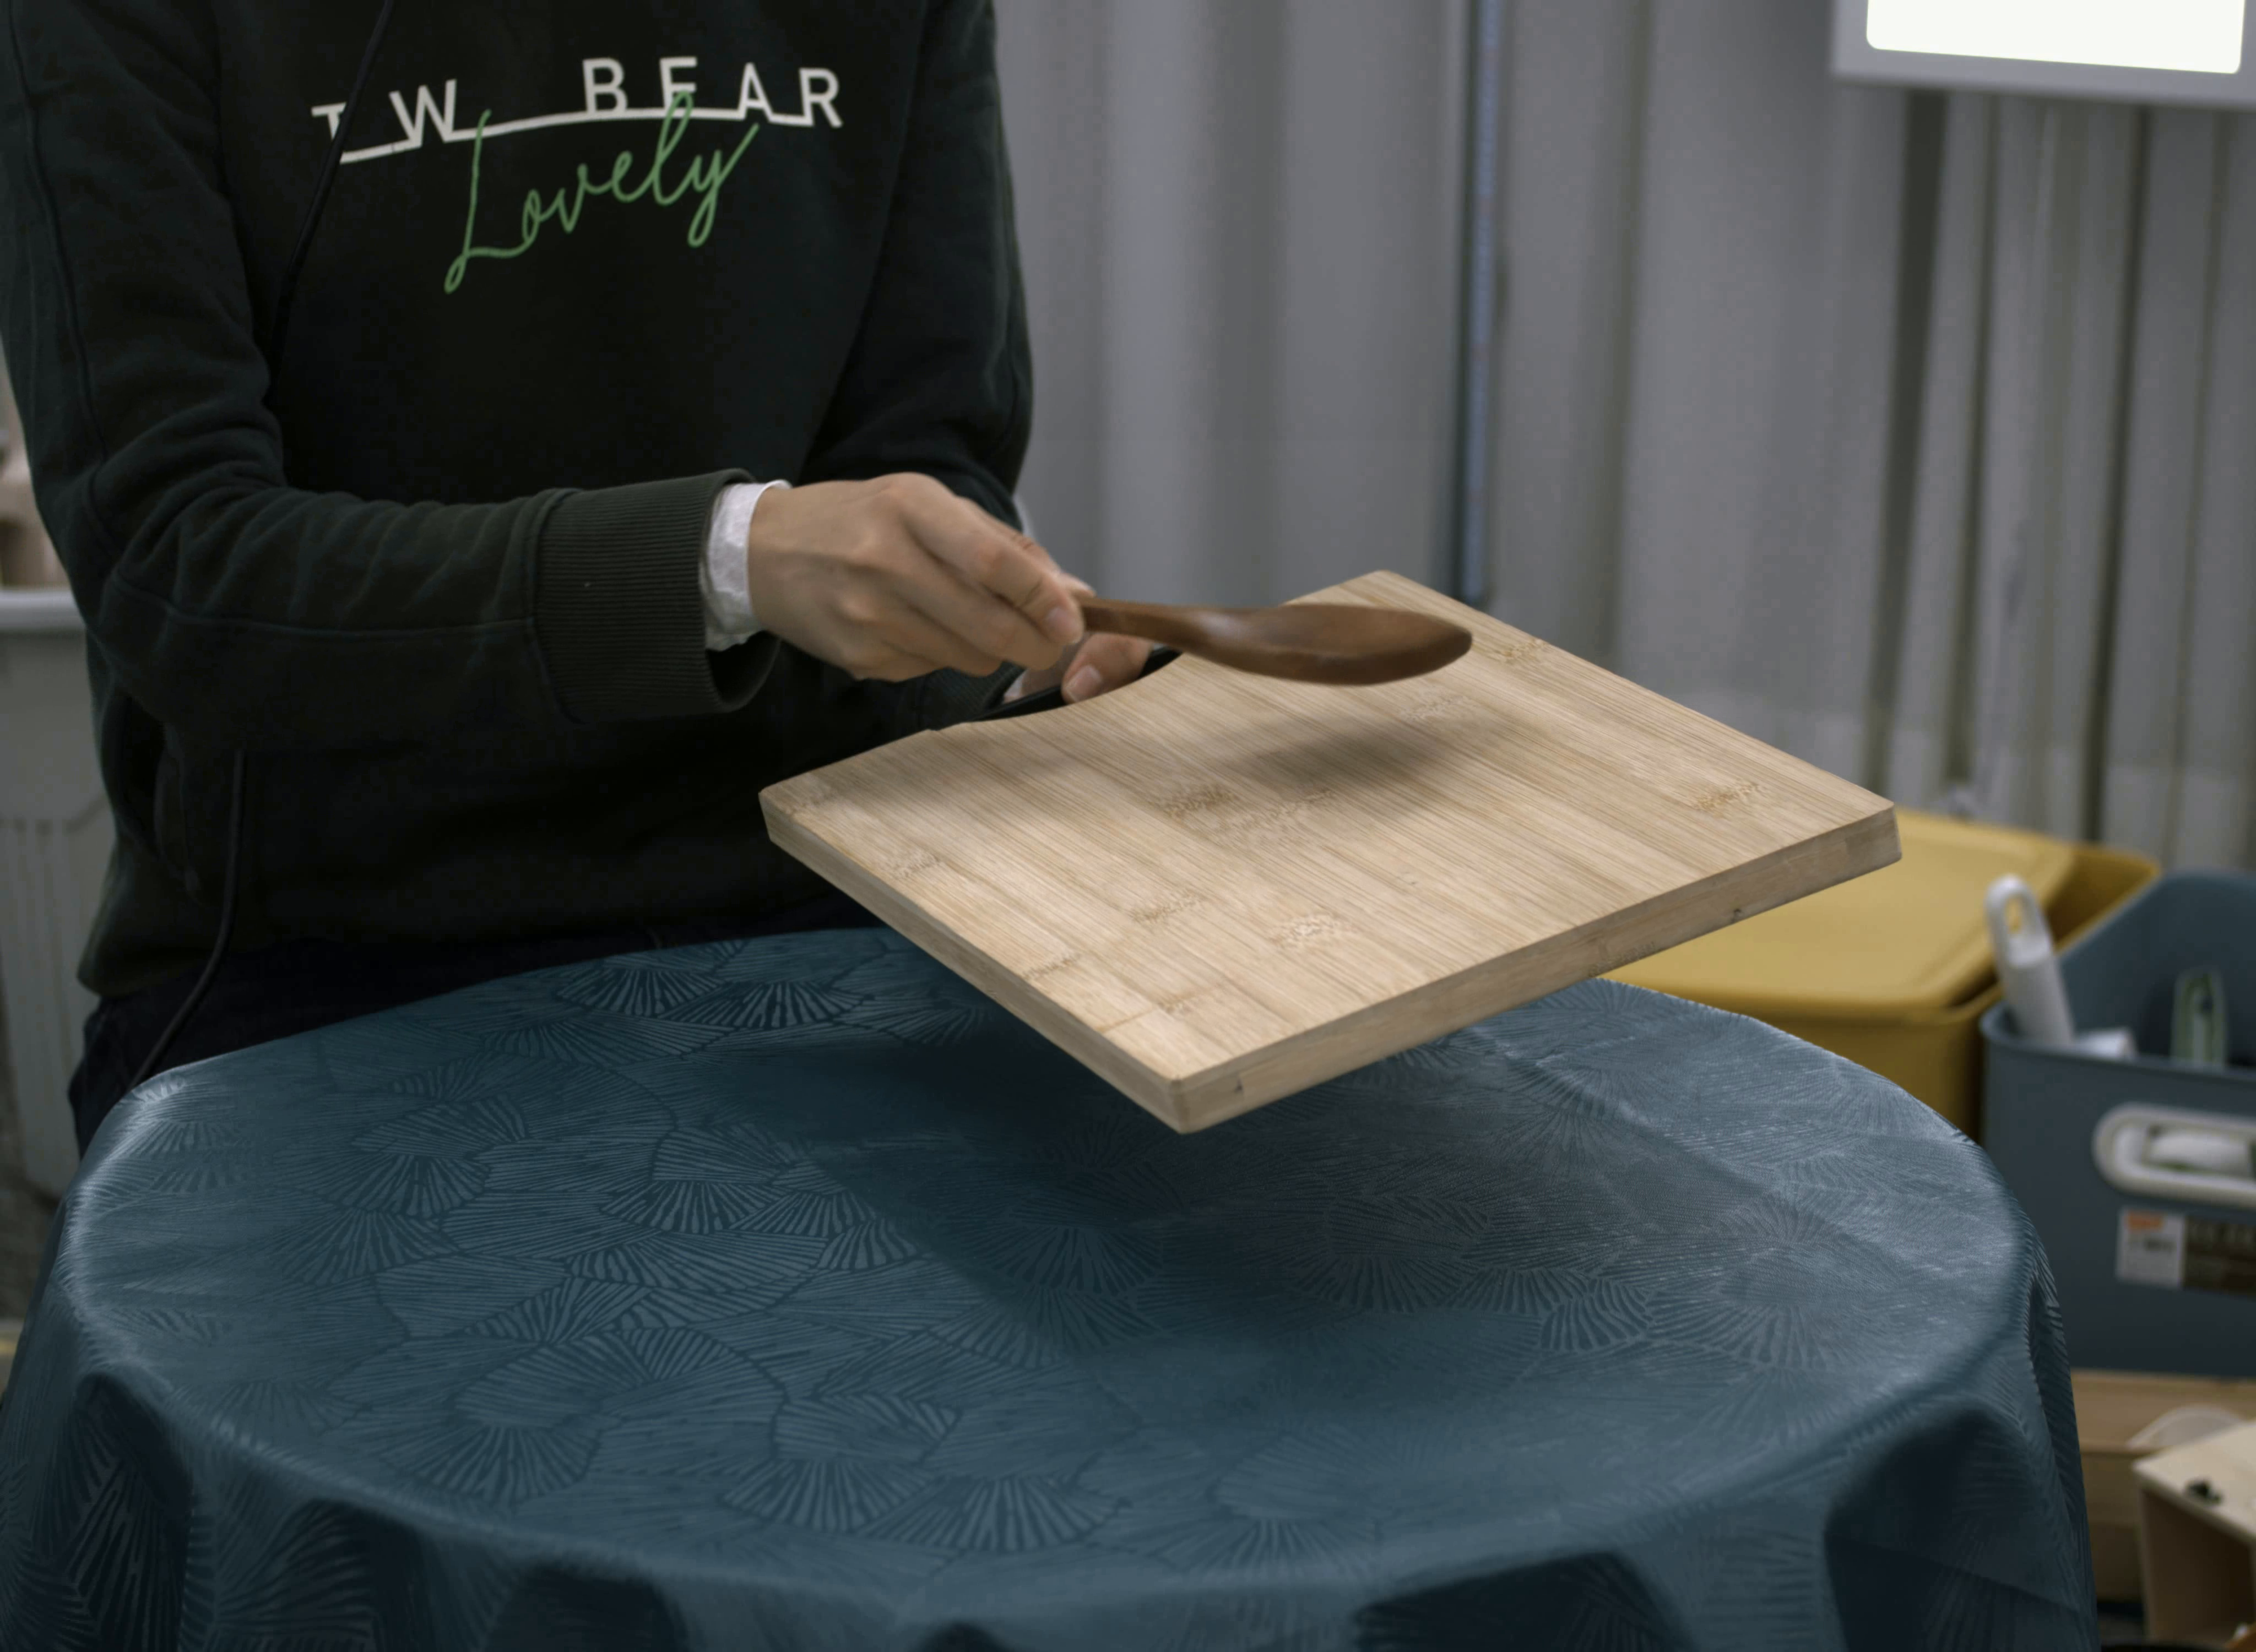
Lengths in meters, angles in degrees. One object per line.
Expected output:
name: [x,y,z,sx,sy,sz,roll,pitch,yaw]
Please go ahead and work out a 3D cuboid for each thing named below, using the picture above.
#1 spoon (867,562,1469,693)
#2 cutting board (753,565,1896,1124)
spoon: [0.009,-0.064,1.681,0.213,0.017,0.076,10,19,29]
cutting board: [0.050,-0.002,1.655,0.251,0.024,0.344,-20,22,-20]
